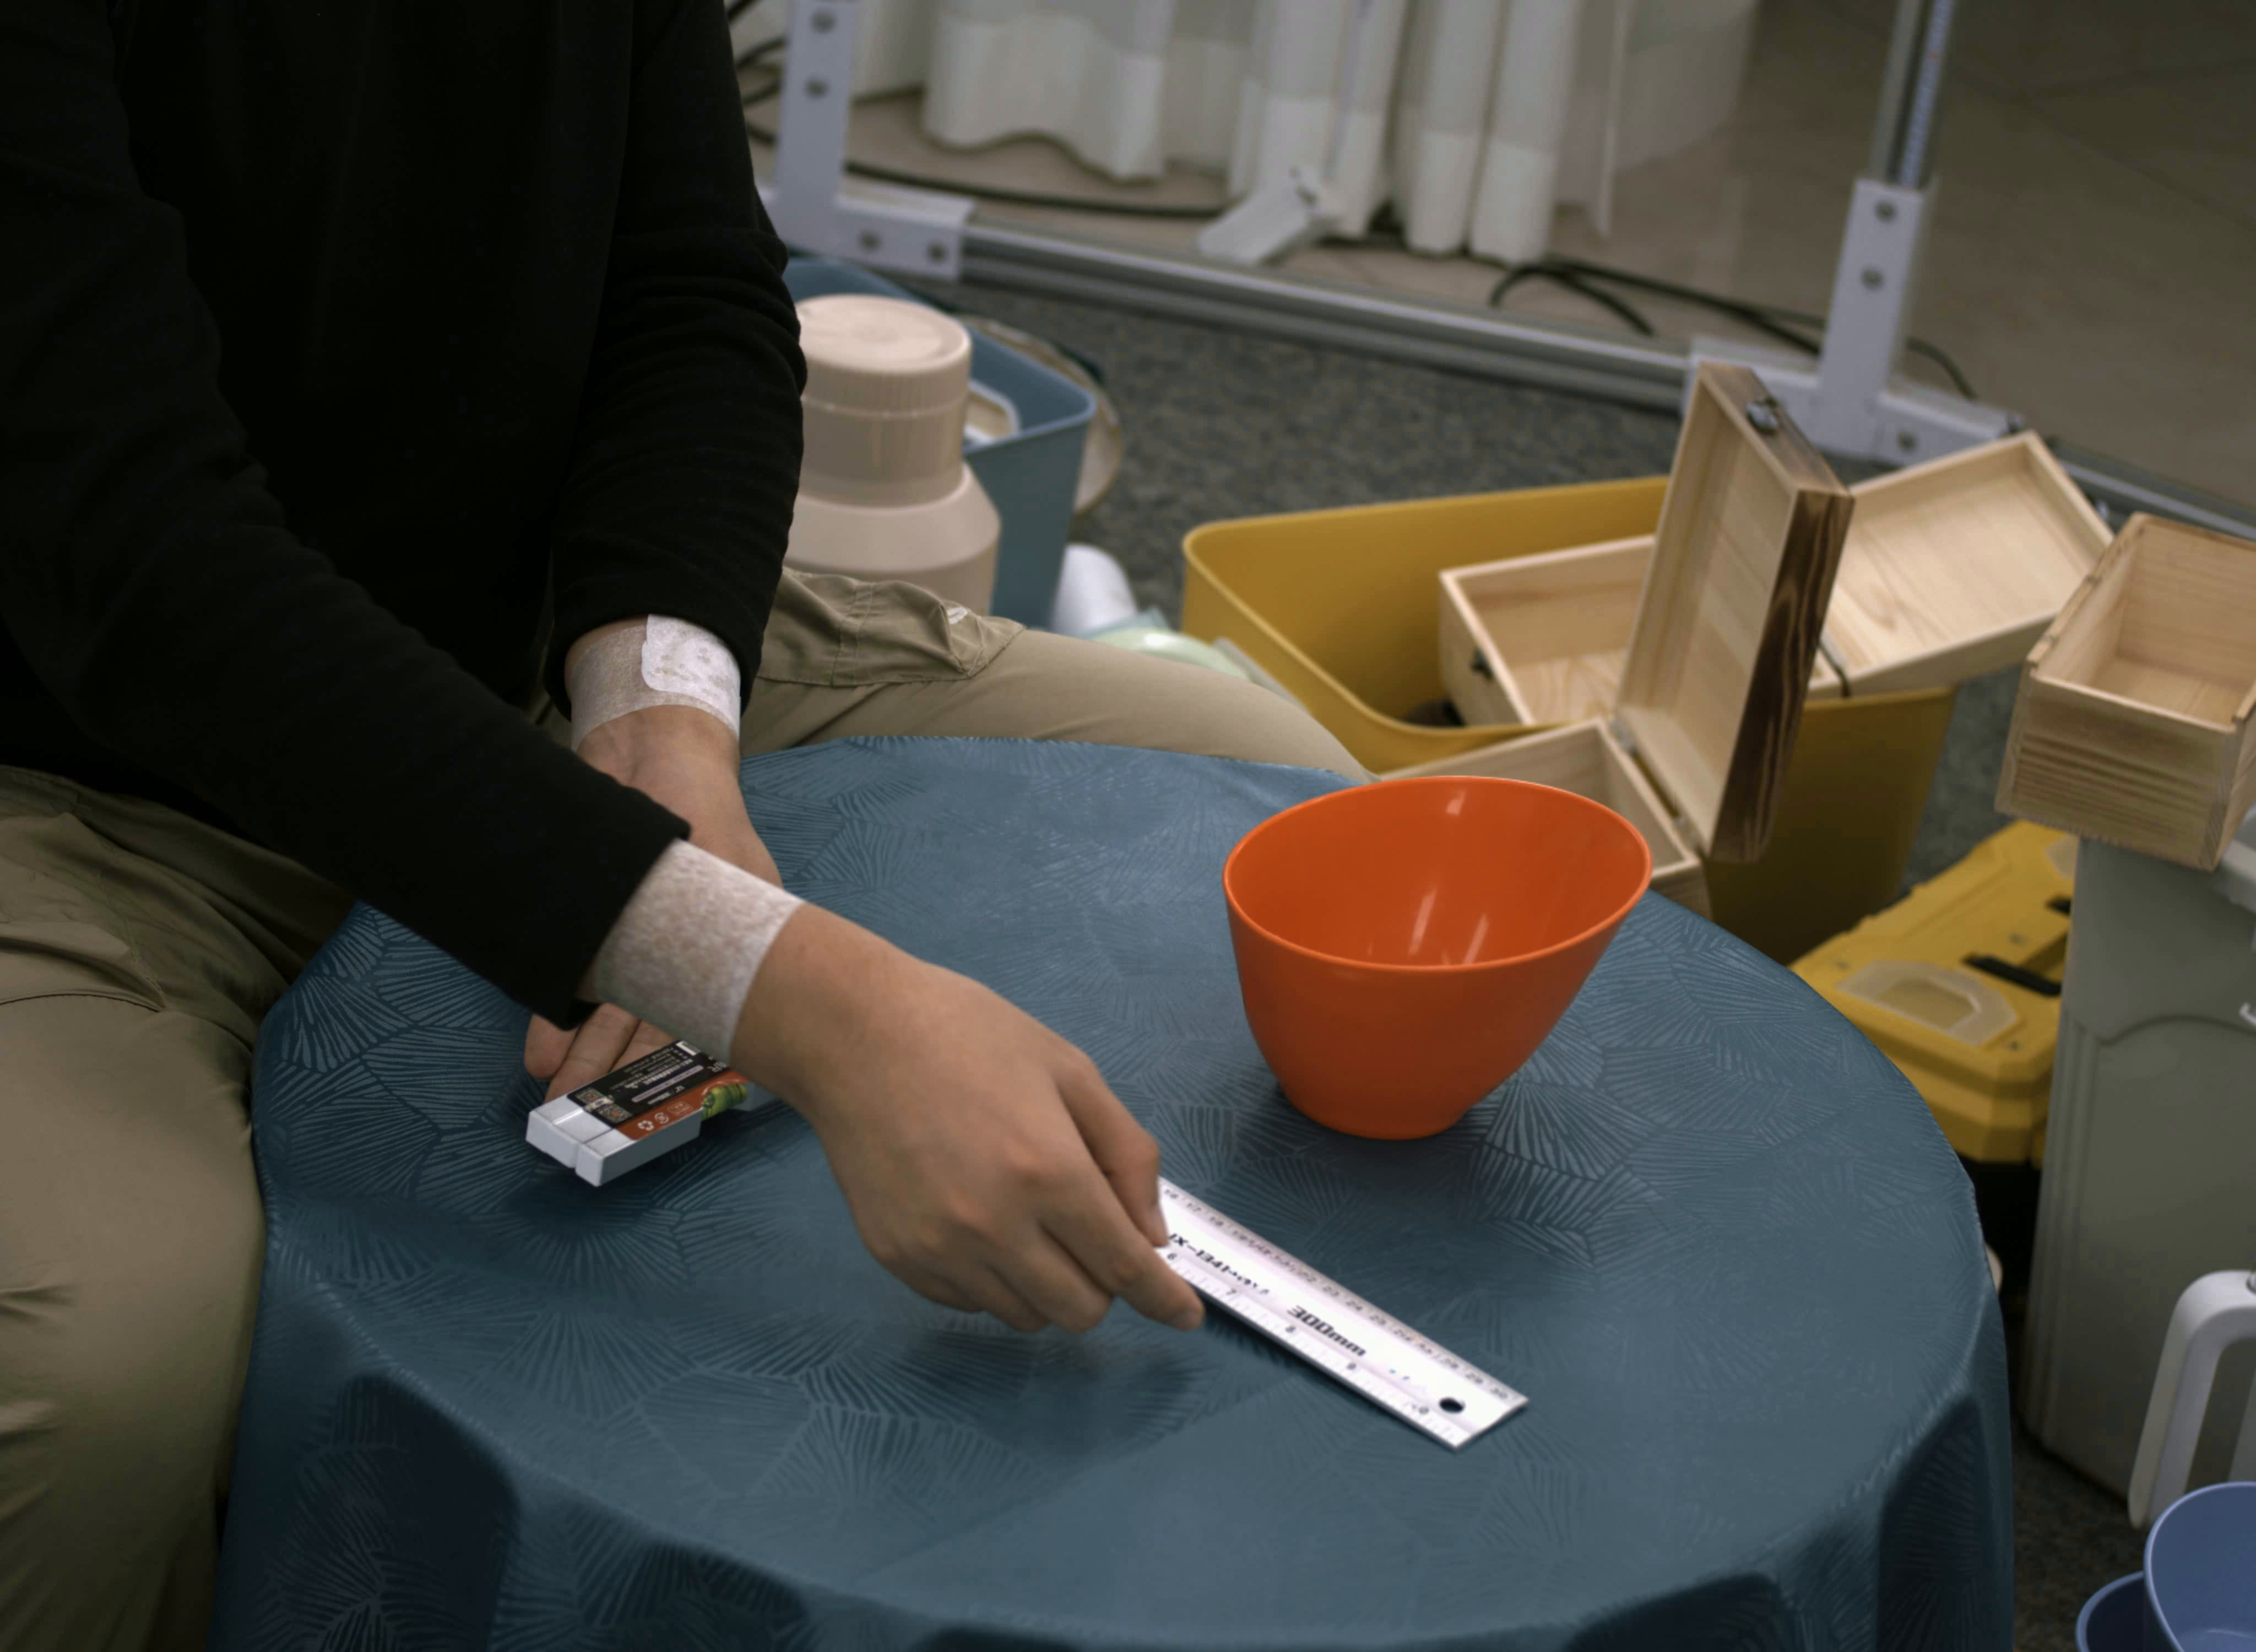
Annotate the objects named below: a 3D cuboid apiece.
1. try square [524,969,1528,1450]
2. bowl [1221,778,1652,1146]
[{"bbox_3d":[-0.036,0.141,1.735,0.315,0.016,0.152,30,37,30],"label":"try square"},{"bbox_3d":[0.102,0.052,1.854,0.147,0.104,0.149,4,28,-3],"label":"bowl"}]
